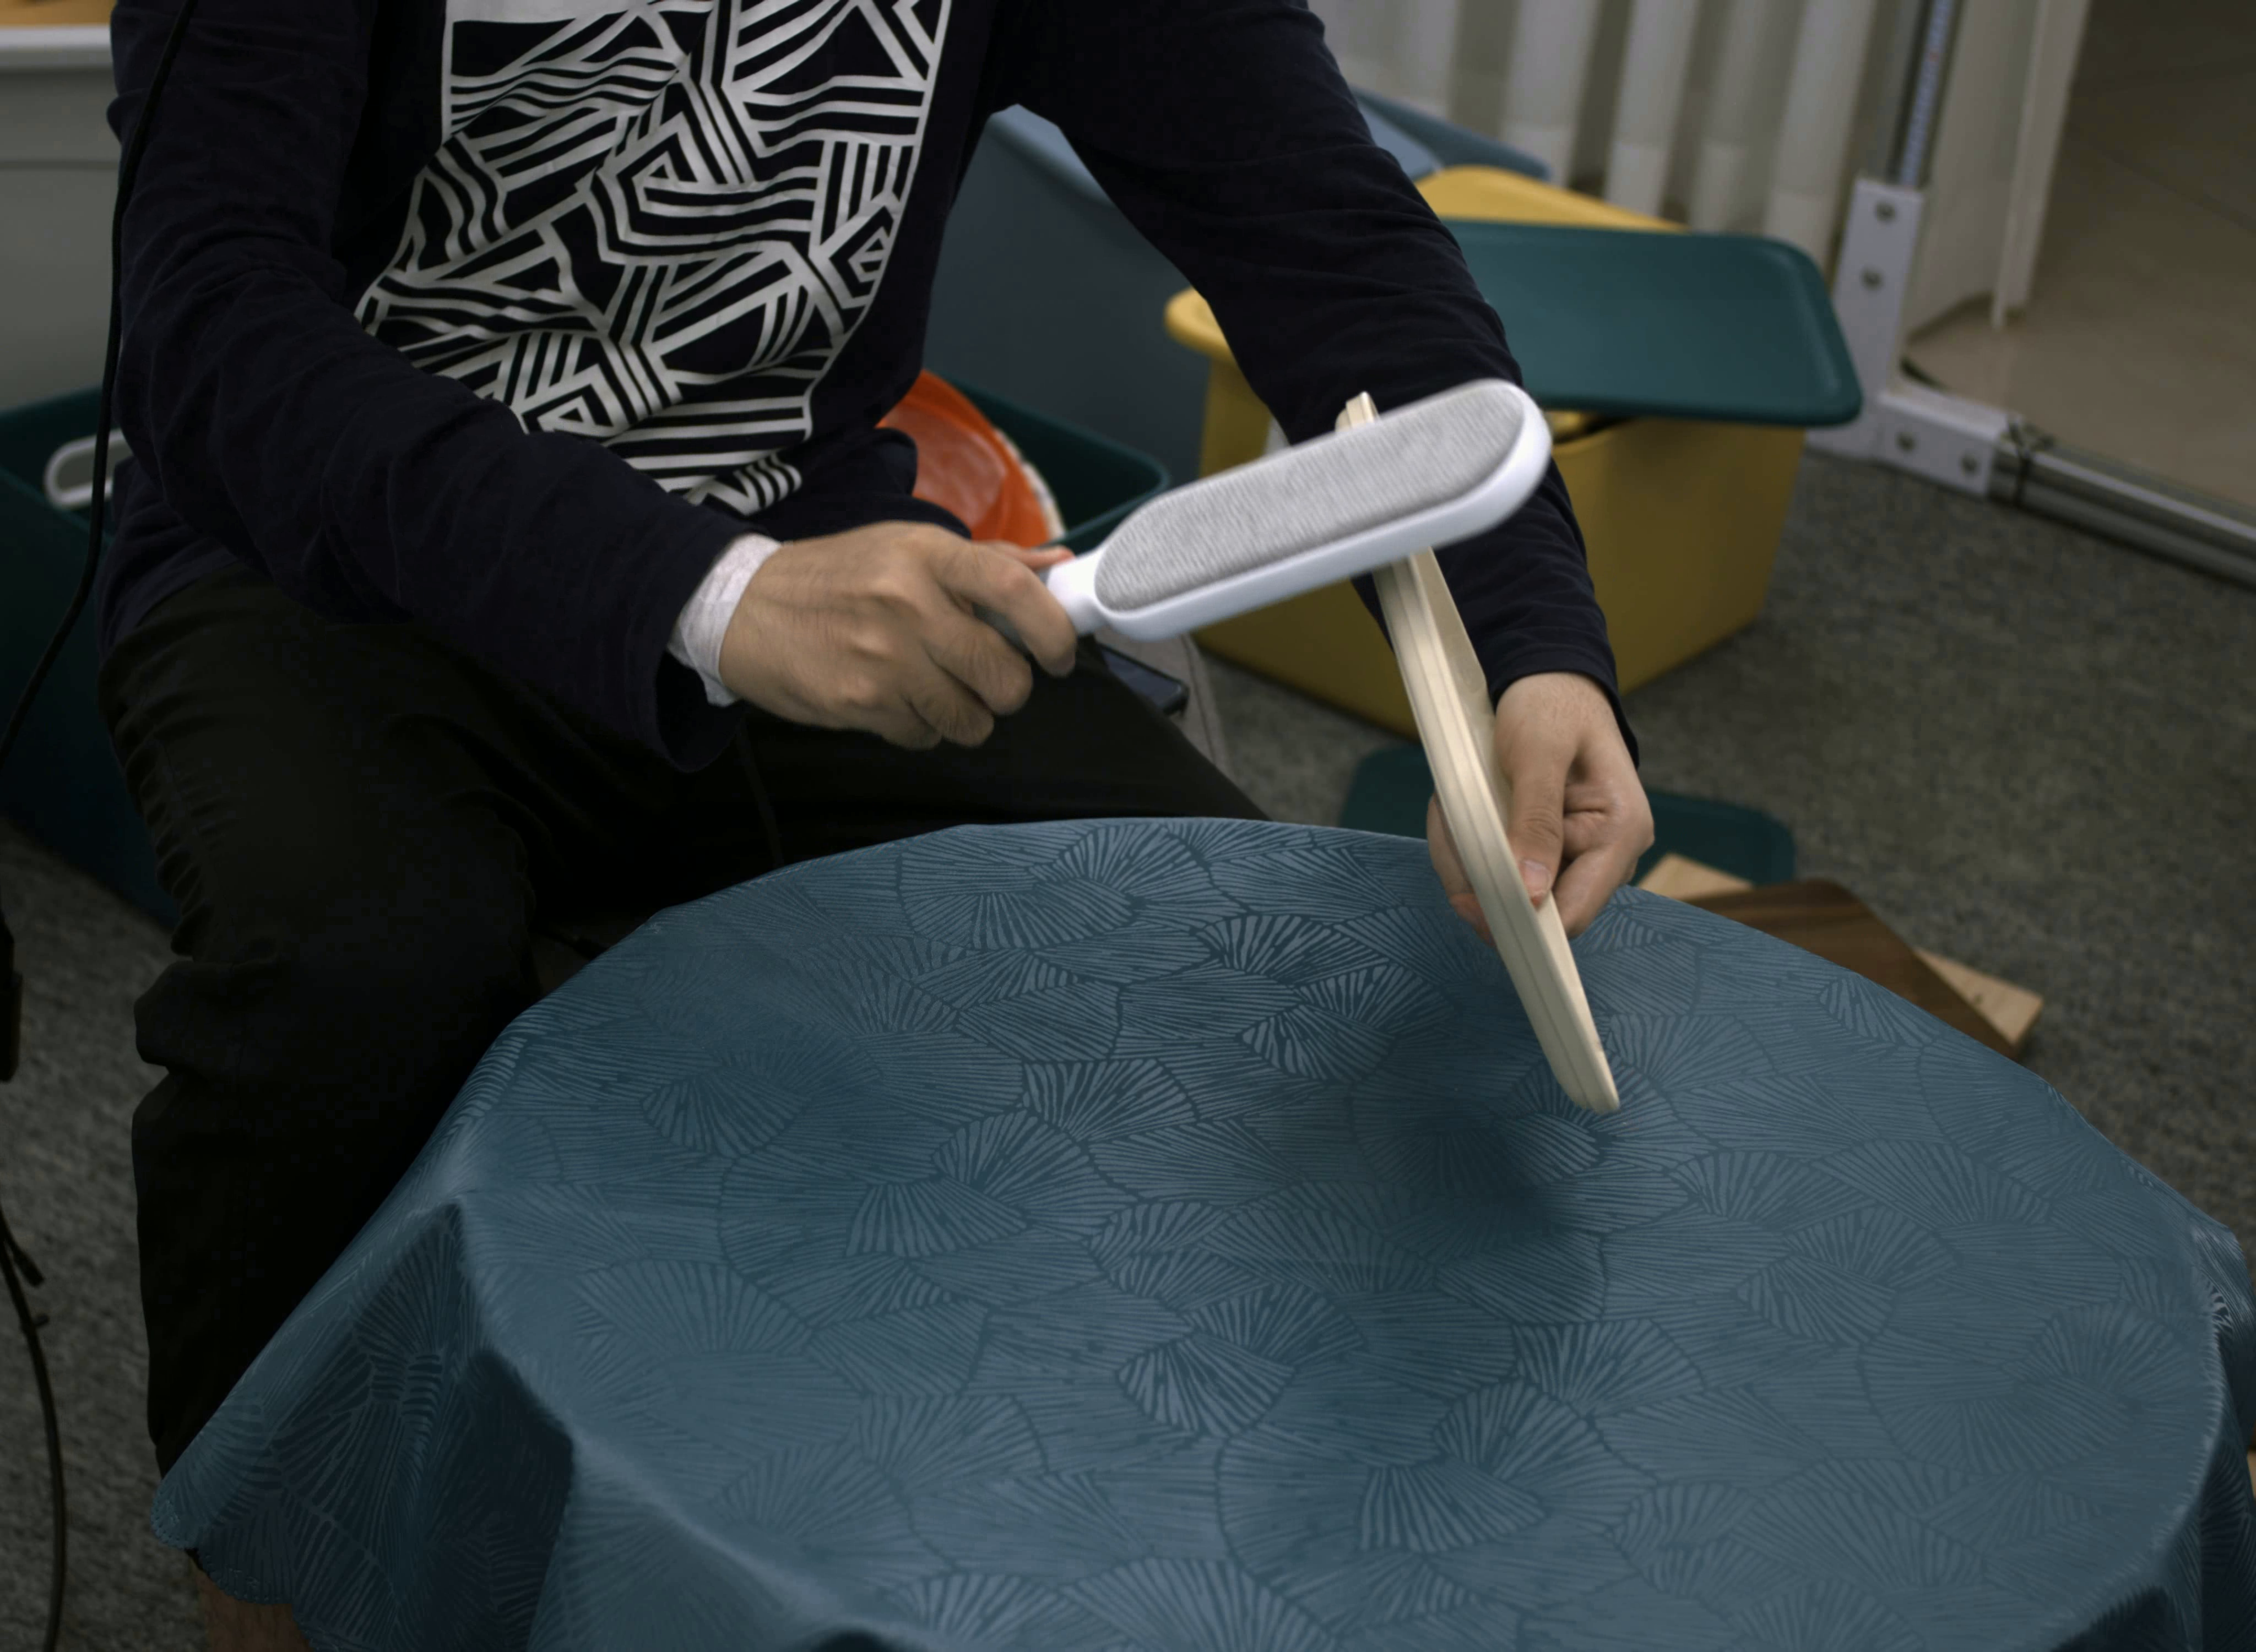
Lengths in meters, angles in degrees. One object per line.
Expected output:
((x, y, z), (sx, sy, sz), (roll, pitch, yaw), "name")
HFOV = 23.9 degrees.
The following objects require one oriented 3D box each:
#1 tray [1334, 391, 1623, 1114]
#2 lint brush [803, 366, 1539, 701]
((0.117, -0.025, 1.827), (0.017, 0.170, 0.242), (-20, 44, 7), "tray")
((0.009, -0.094, 1.812), (0.309, 0.021, 0.060), (-18, 49, 34), "lint brush")
